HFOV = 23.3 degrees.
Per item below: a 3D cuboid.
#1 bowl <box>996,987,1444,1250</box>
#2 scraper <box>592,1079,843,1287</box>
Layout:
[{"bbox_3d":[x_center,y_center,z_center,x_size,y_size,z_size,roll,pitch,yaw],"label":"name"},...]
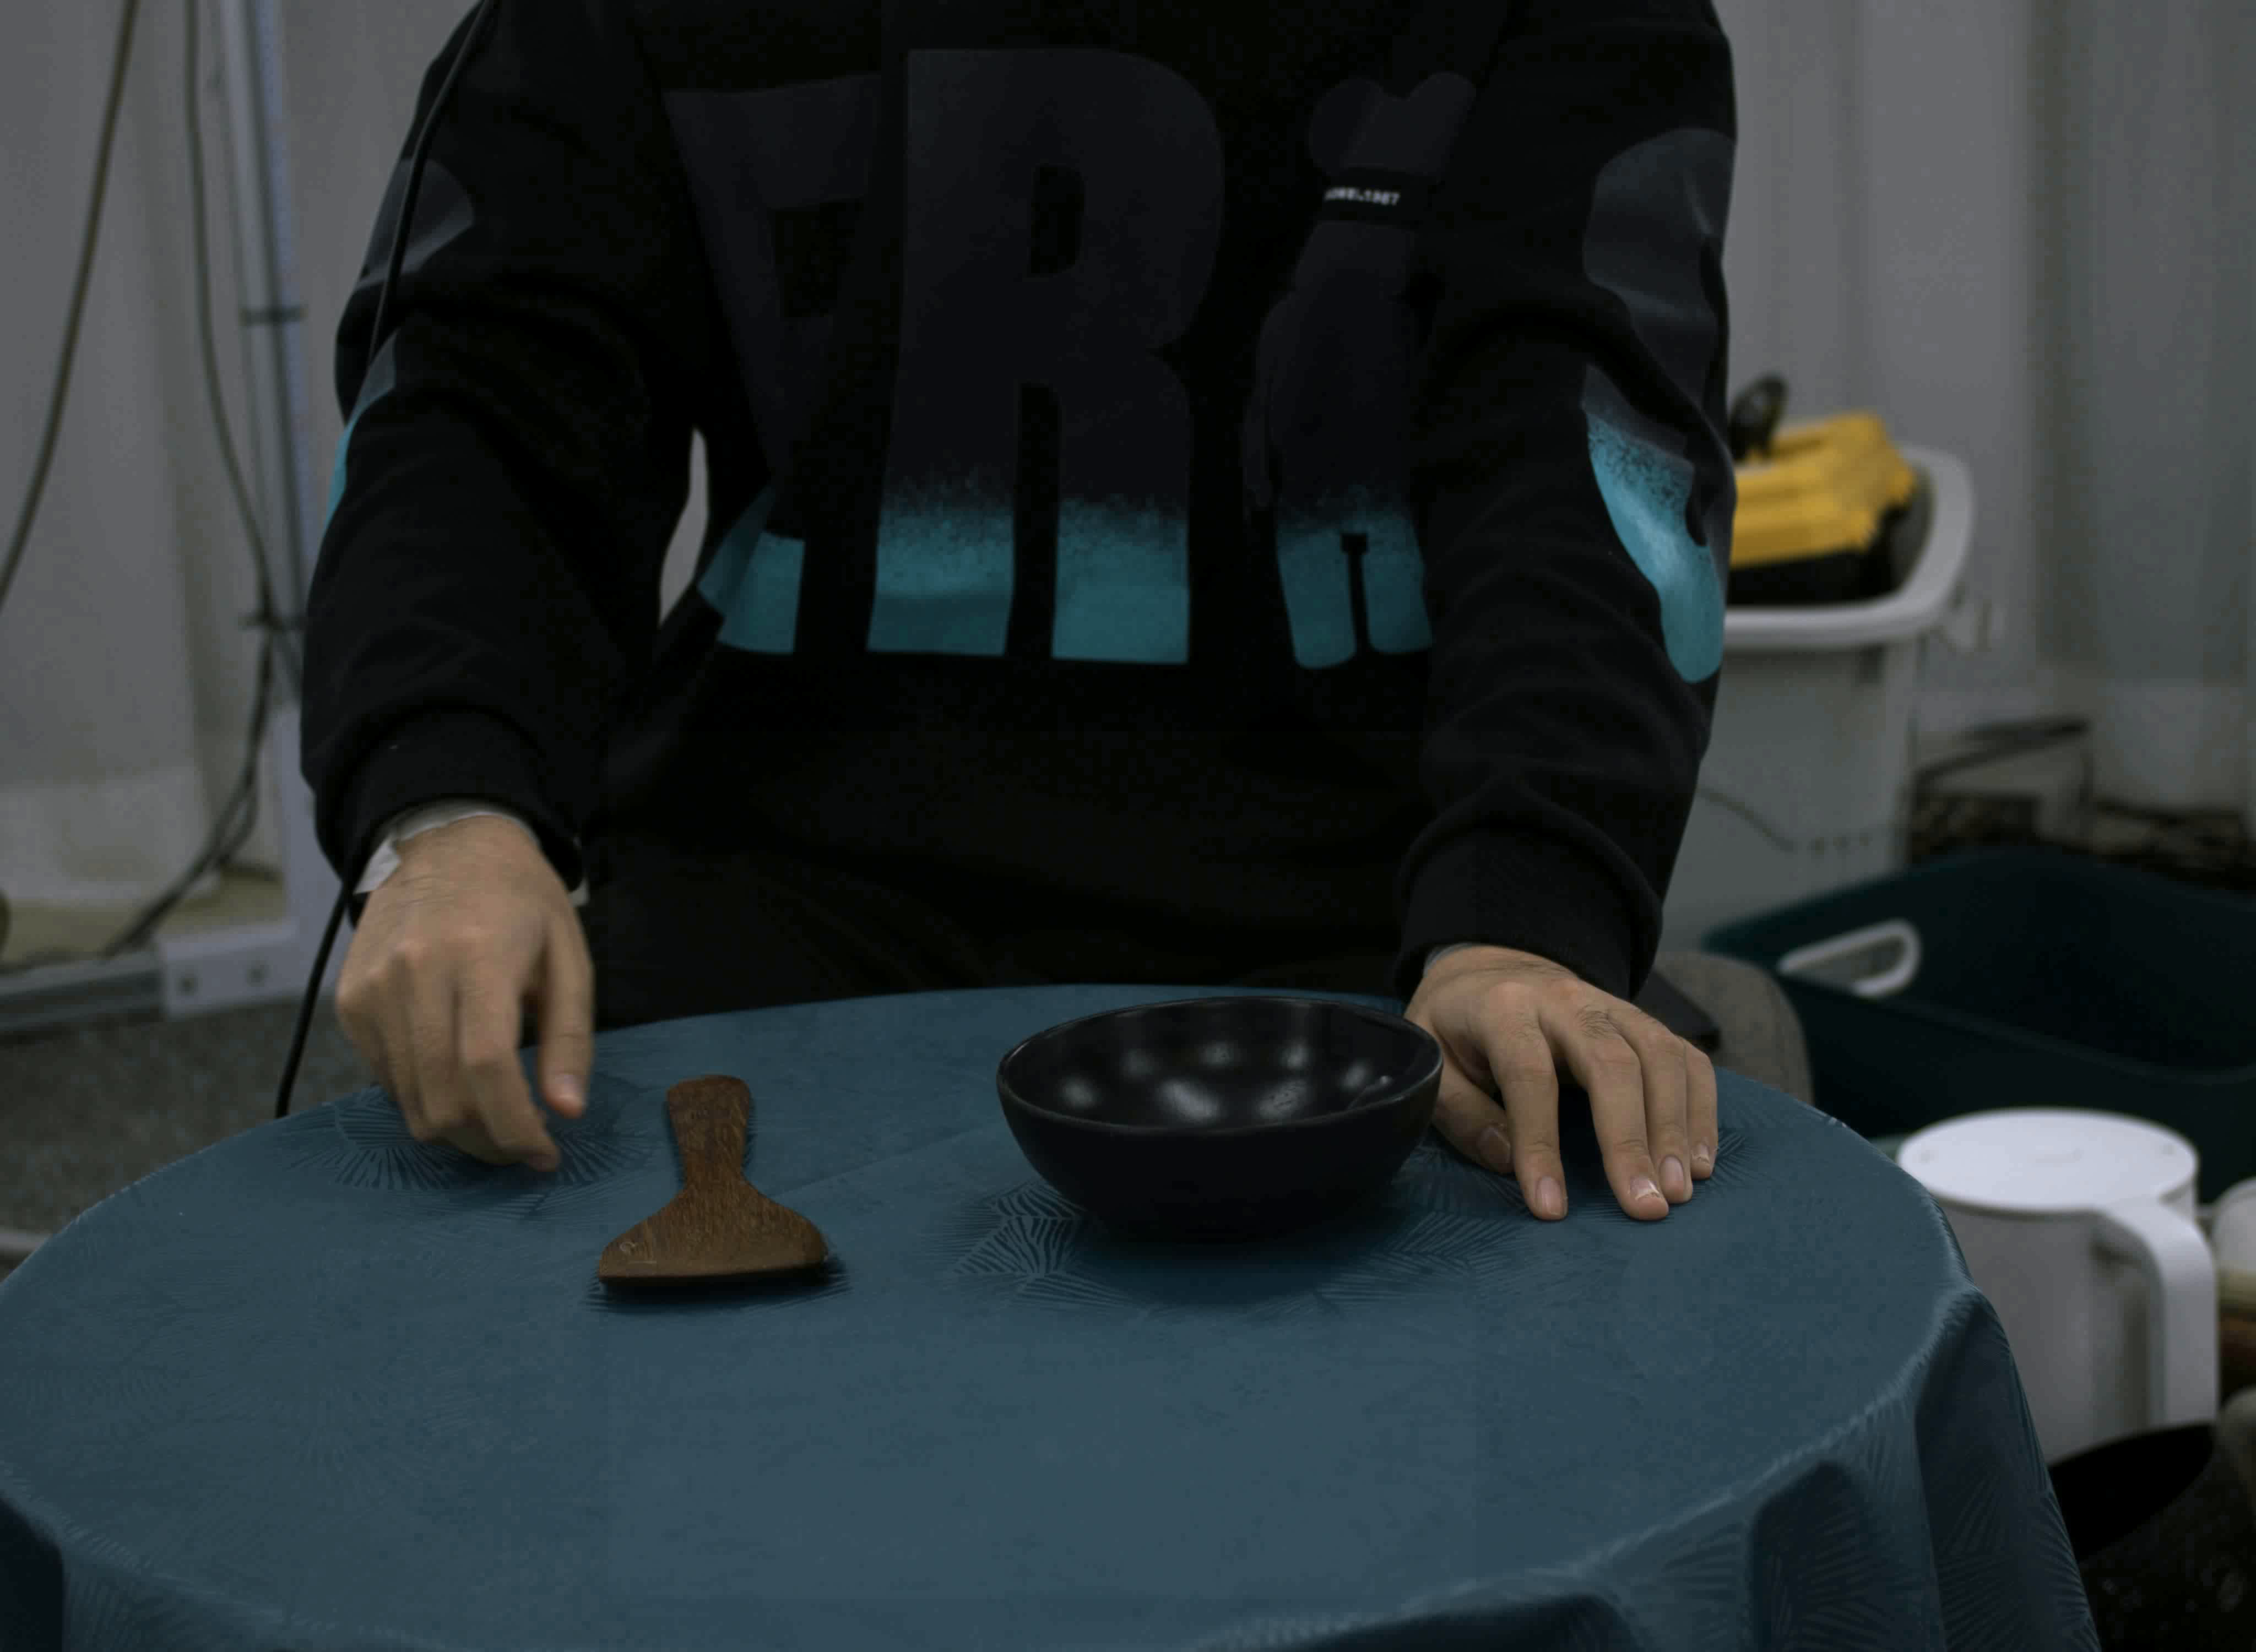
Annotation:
[{"bbox_3d":[0.030,0.095,1.686,0.139,0.049,0.141,-6,16,1],"label":"bowl"},{"bbox_3d":[-0.131,0.113,1.732,0.075,0.011,0.213,-3,14,-4],"label":"scraper"}]
